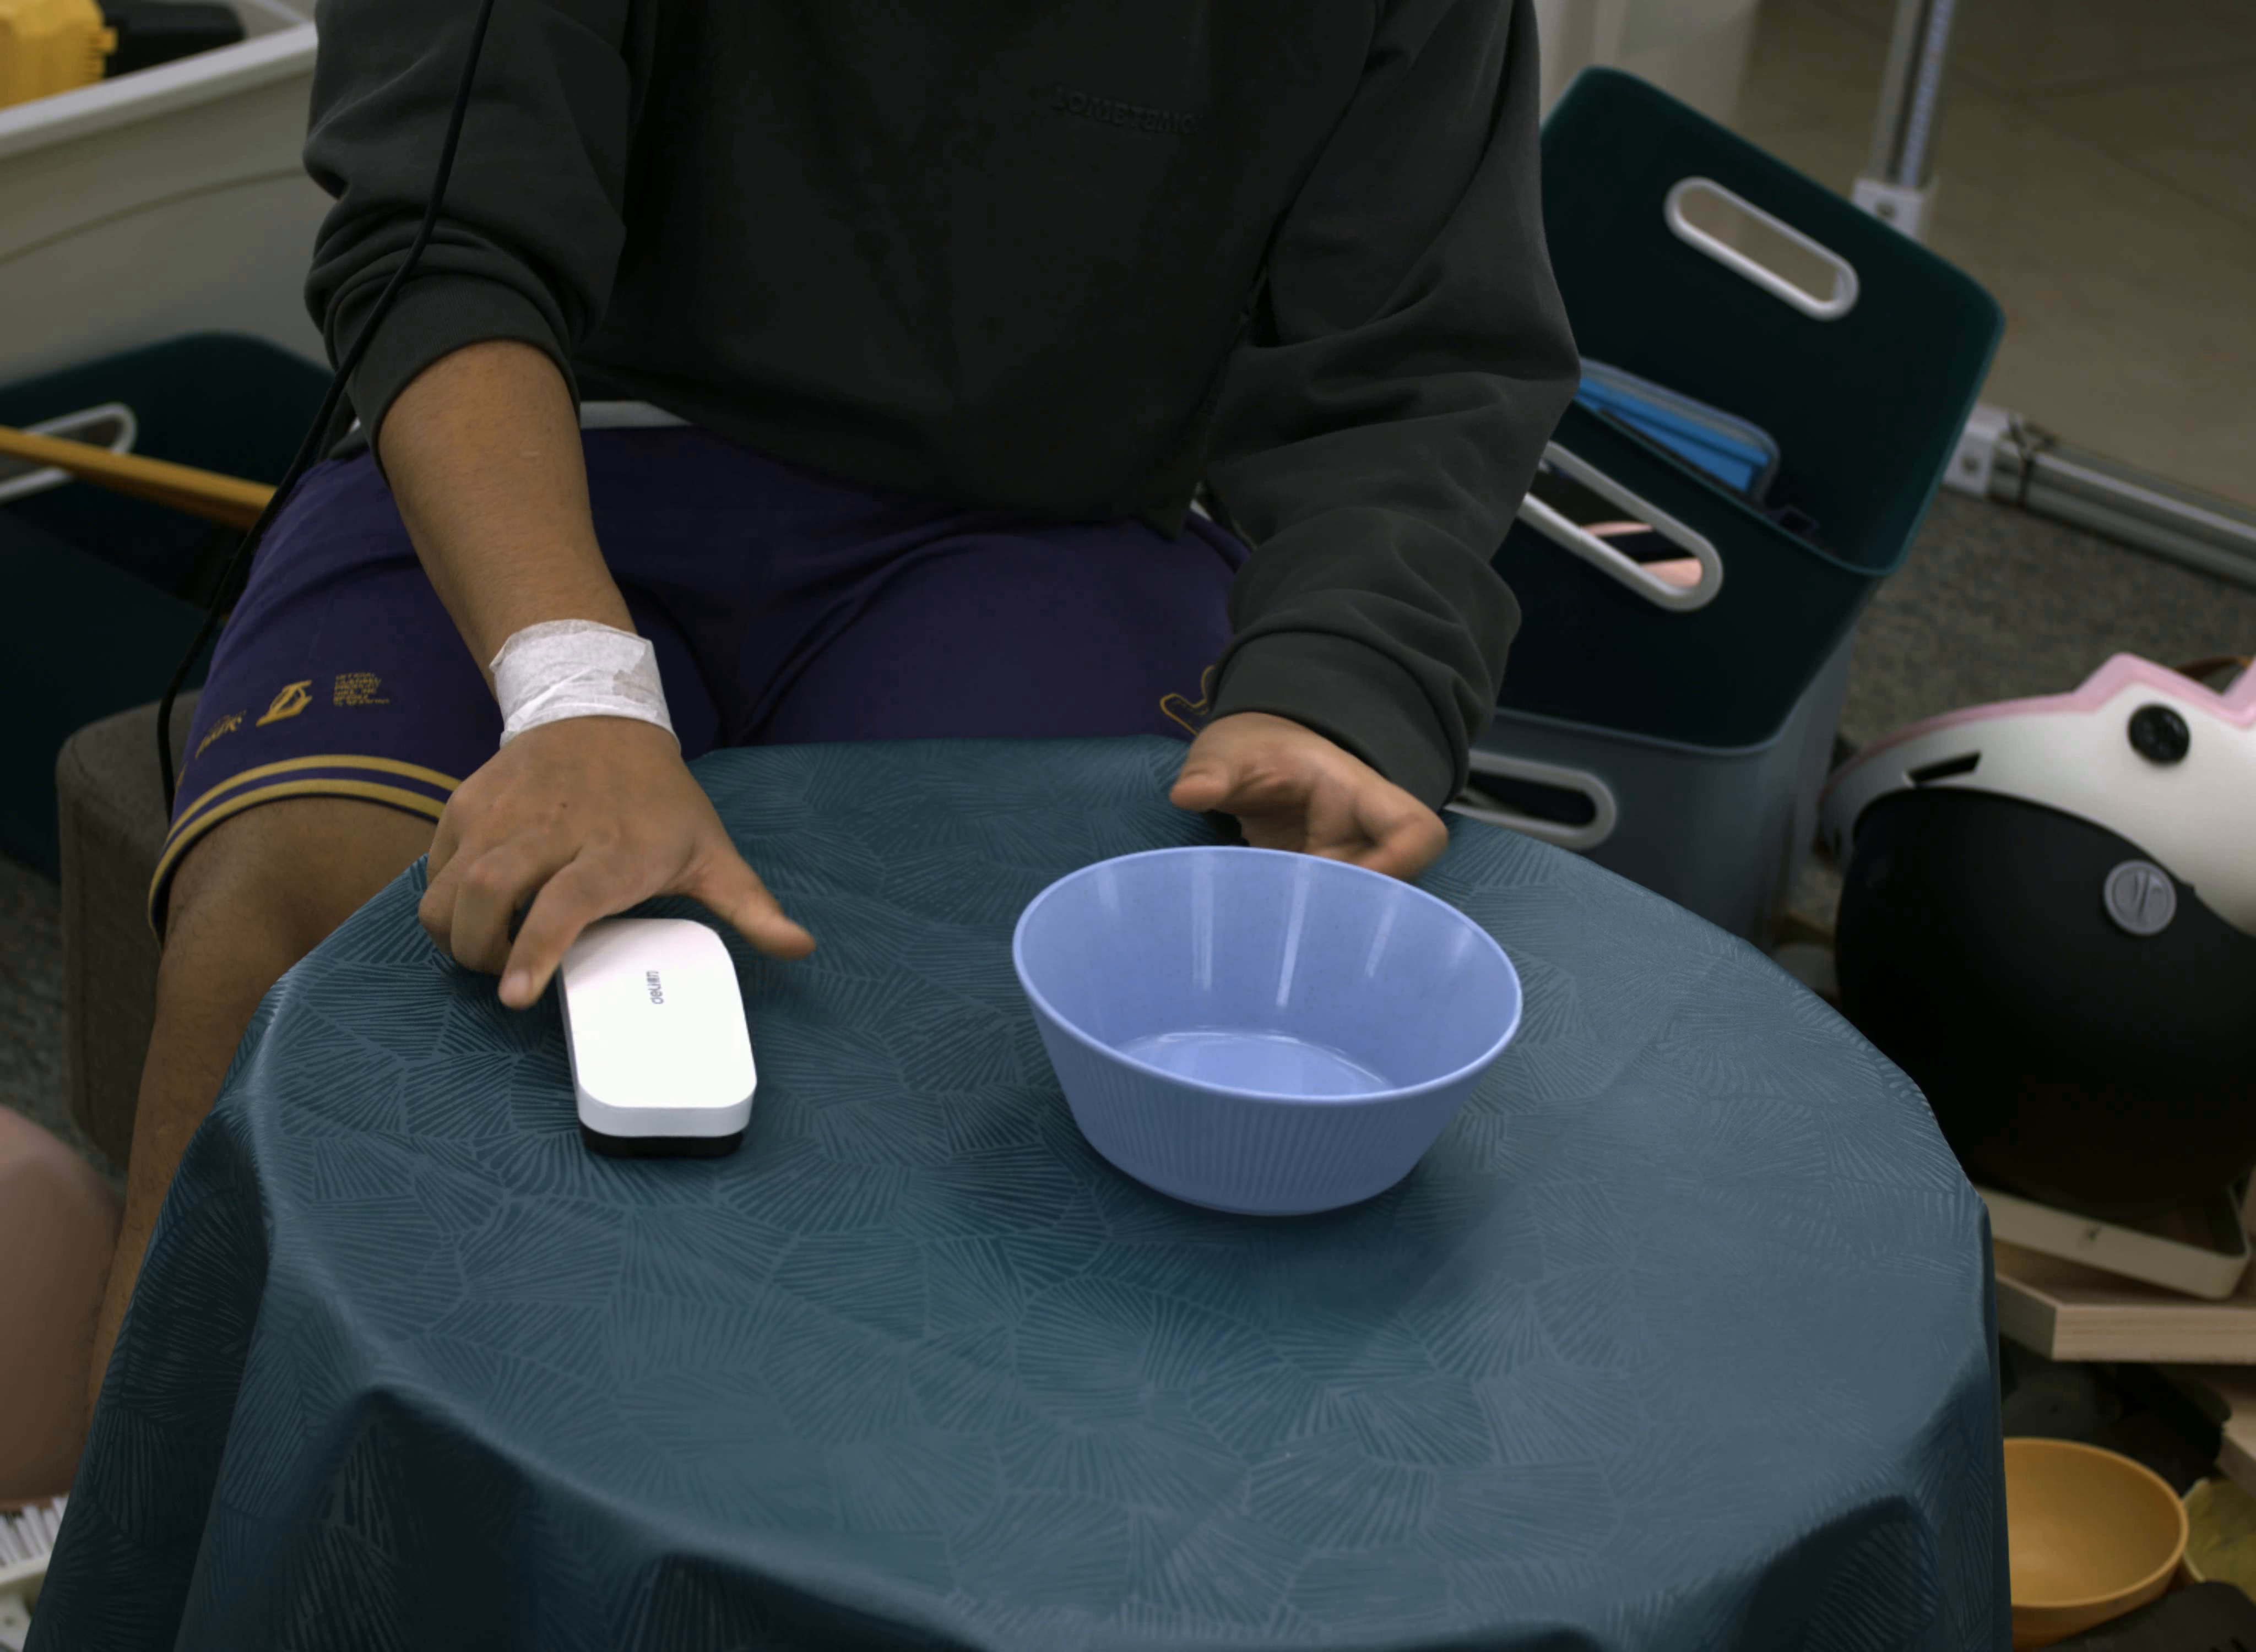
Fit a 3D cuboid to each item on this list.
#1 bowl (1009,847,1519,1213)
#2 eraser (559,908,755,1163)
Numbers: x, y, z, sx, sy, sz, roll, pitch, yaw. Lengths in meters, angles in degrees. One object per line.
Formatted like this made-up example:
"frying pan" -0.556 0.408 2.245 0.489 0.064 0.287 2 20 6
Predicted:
"bowl" 0.043 0.076 1.827 0.175 0.070 0.177 6 27 -3
"eraser" -0.163 0.069 1.837 0.063 0.034 0.132 3 29 -11
